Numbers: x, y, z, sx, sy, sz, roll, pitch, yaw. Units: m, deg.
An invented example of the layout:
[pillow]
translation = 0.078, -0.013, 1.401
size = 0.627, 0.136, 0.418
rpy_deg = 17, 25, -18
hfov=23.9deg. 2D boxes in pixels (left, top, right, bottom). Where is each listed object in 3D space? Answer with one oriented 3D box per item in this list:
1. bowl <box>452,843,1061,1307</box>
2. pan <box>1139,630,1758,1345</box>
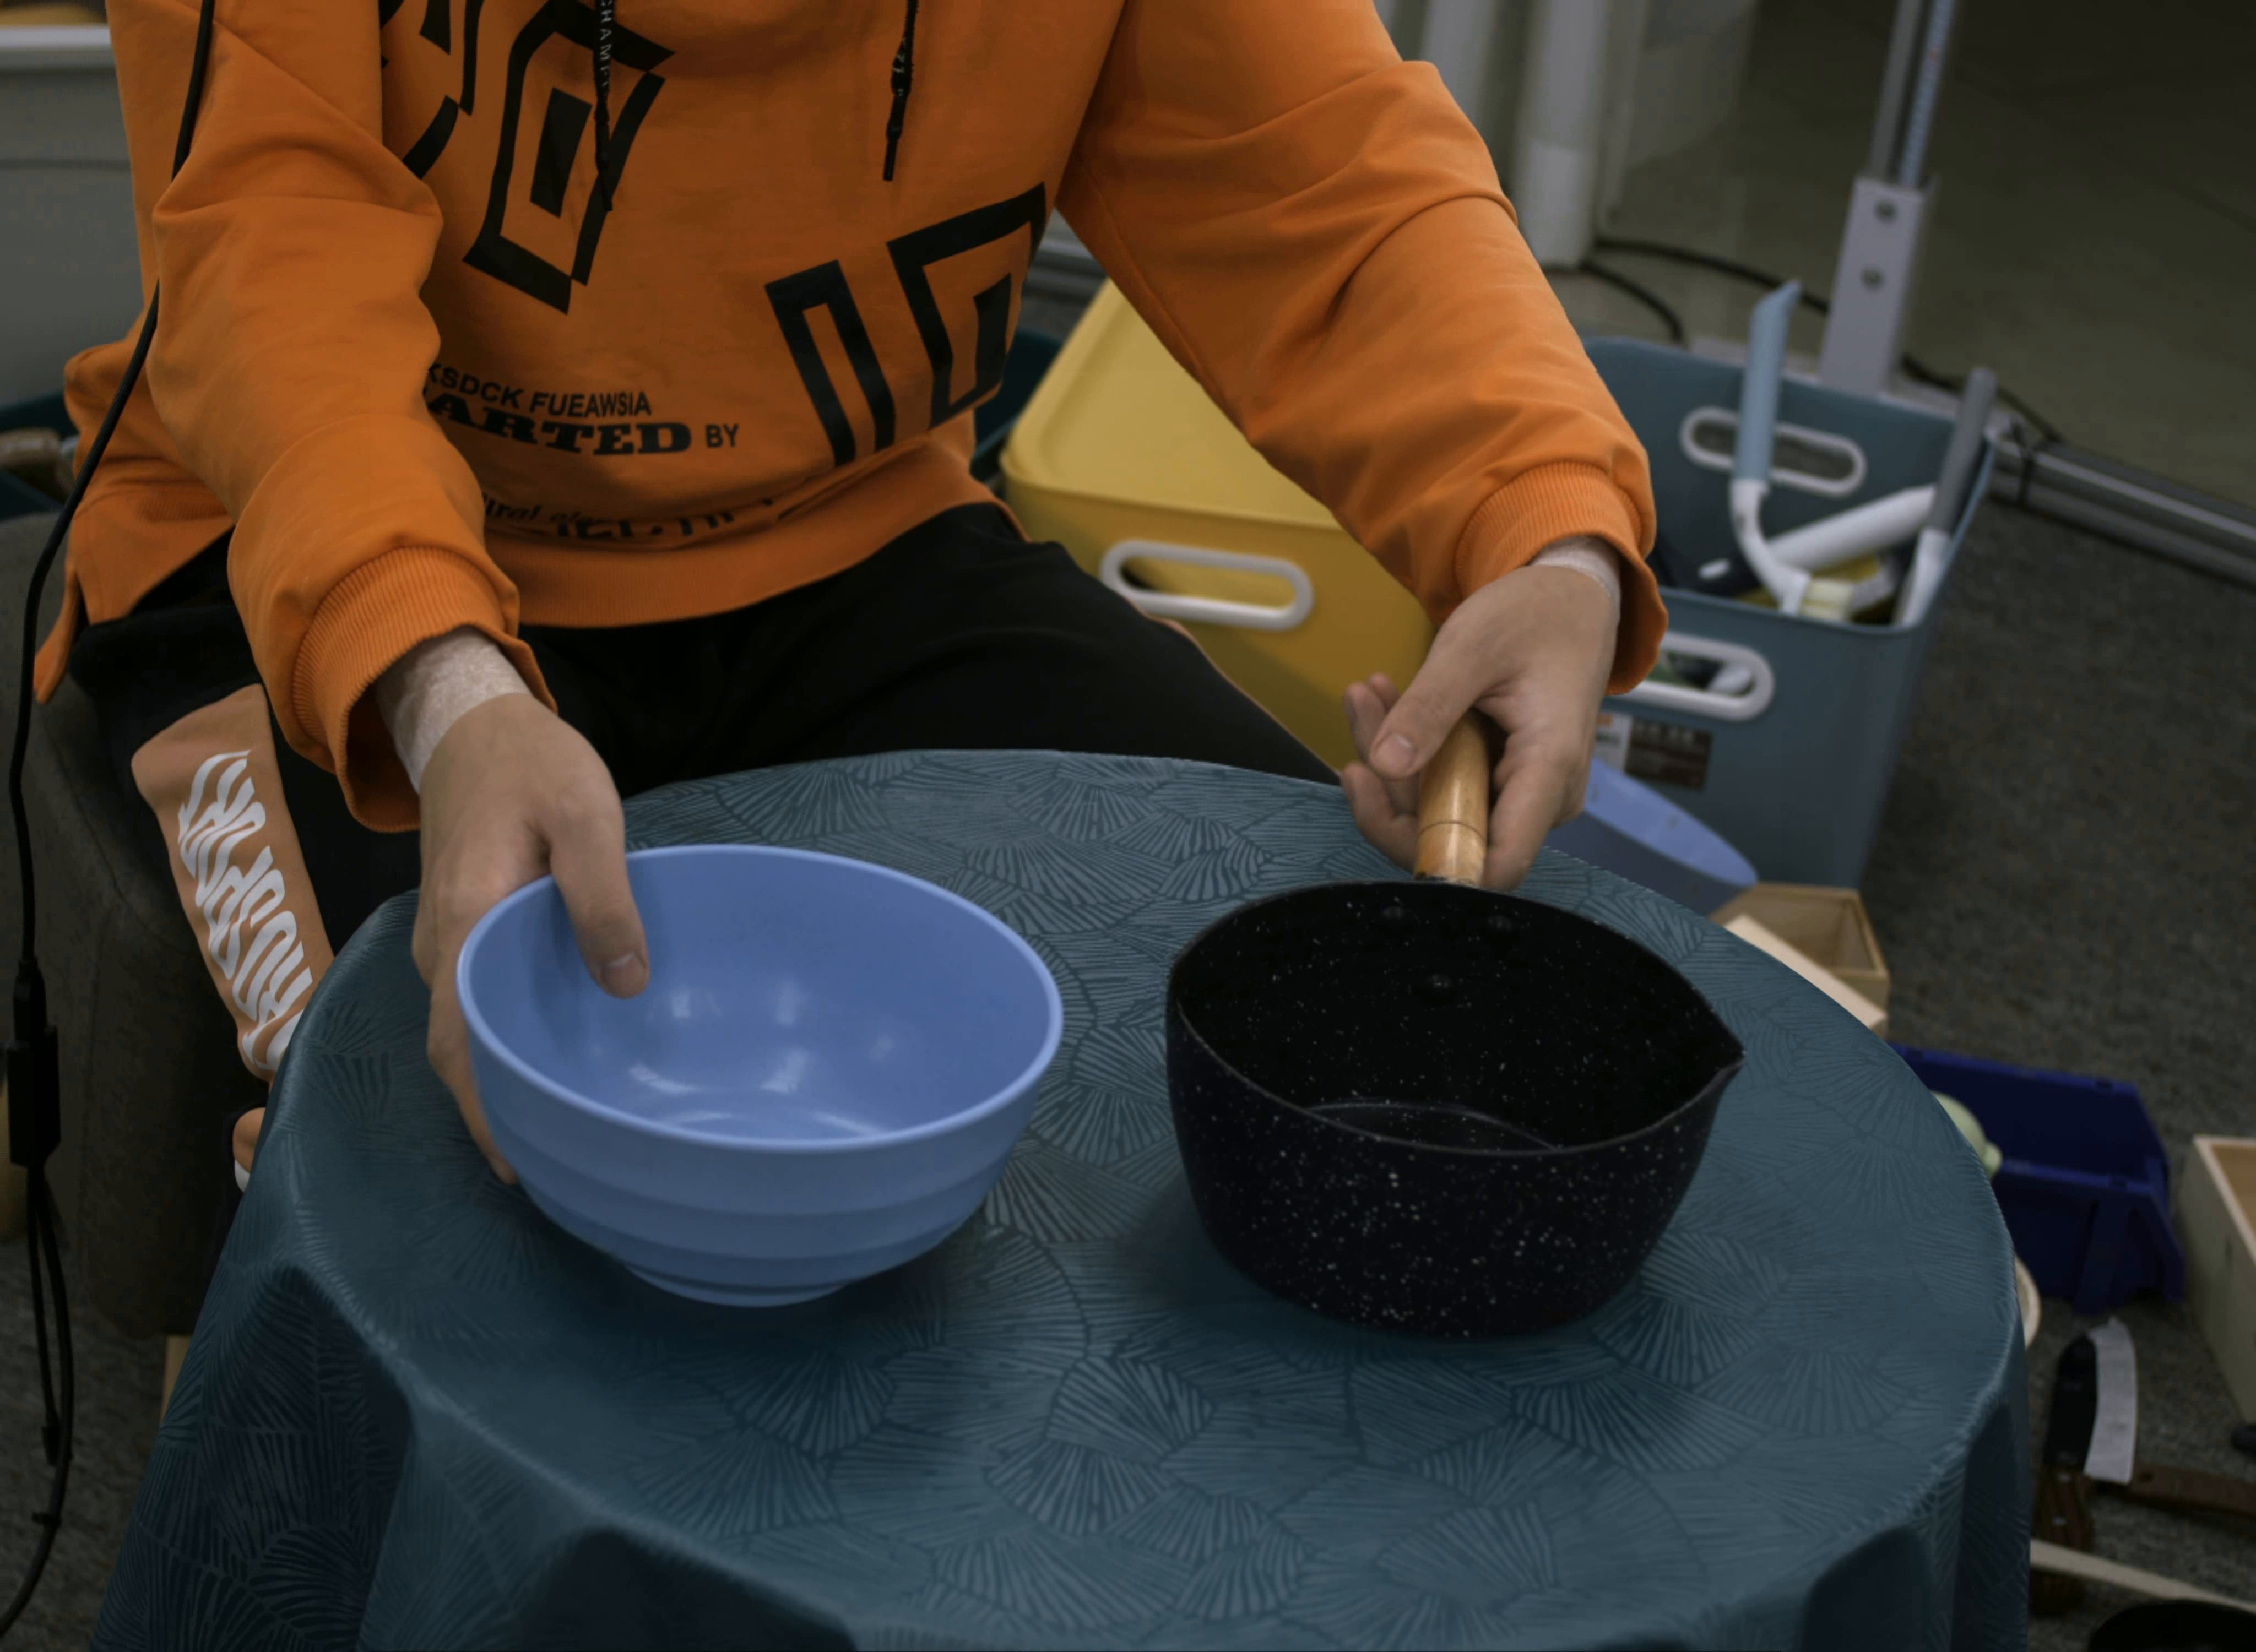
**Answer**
[bowl]
translation = -0.123, 0.092, 1.731
size = 0.196, 0.095, 0.198
rpy_deg = 5, 28, -3
[pan]
translation = 0.108, 0.052, 1.849
size = 0.207, 0.108, 0.345
rpy_deg = 6, 28, 1
